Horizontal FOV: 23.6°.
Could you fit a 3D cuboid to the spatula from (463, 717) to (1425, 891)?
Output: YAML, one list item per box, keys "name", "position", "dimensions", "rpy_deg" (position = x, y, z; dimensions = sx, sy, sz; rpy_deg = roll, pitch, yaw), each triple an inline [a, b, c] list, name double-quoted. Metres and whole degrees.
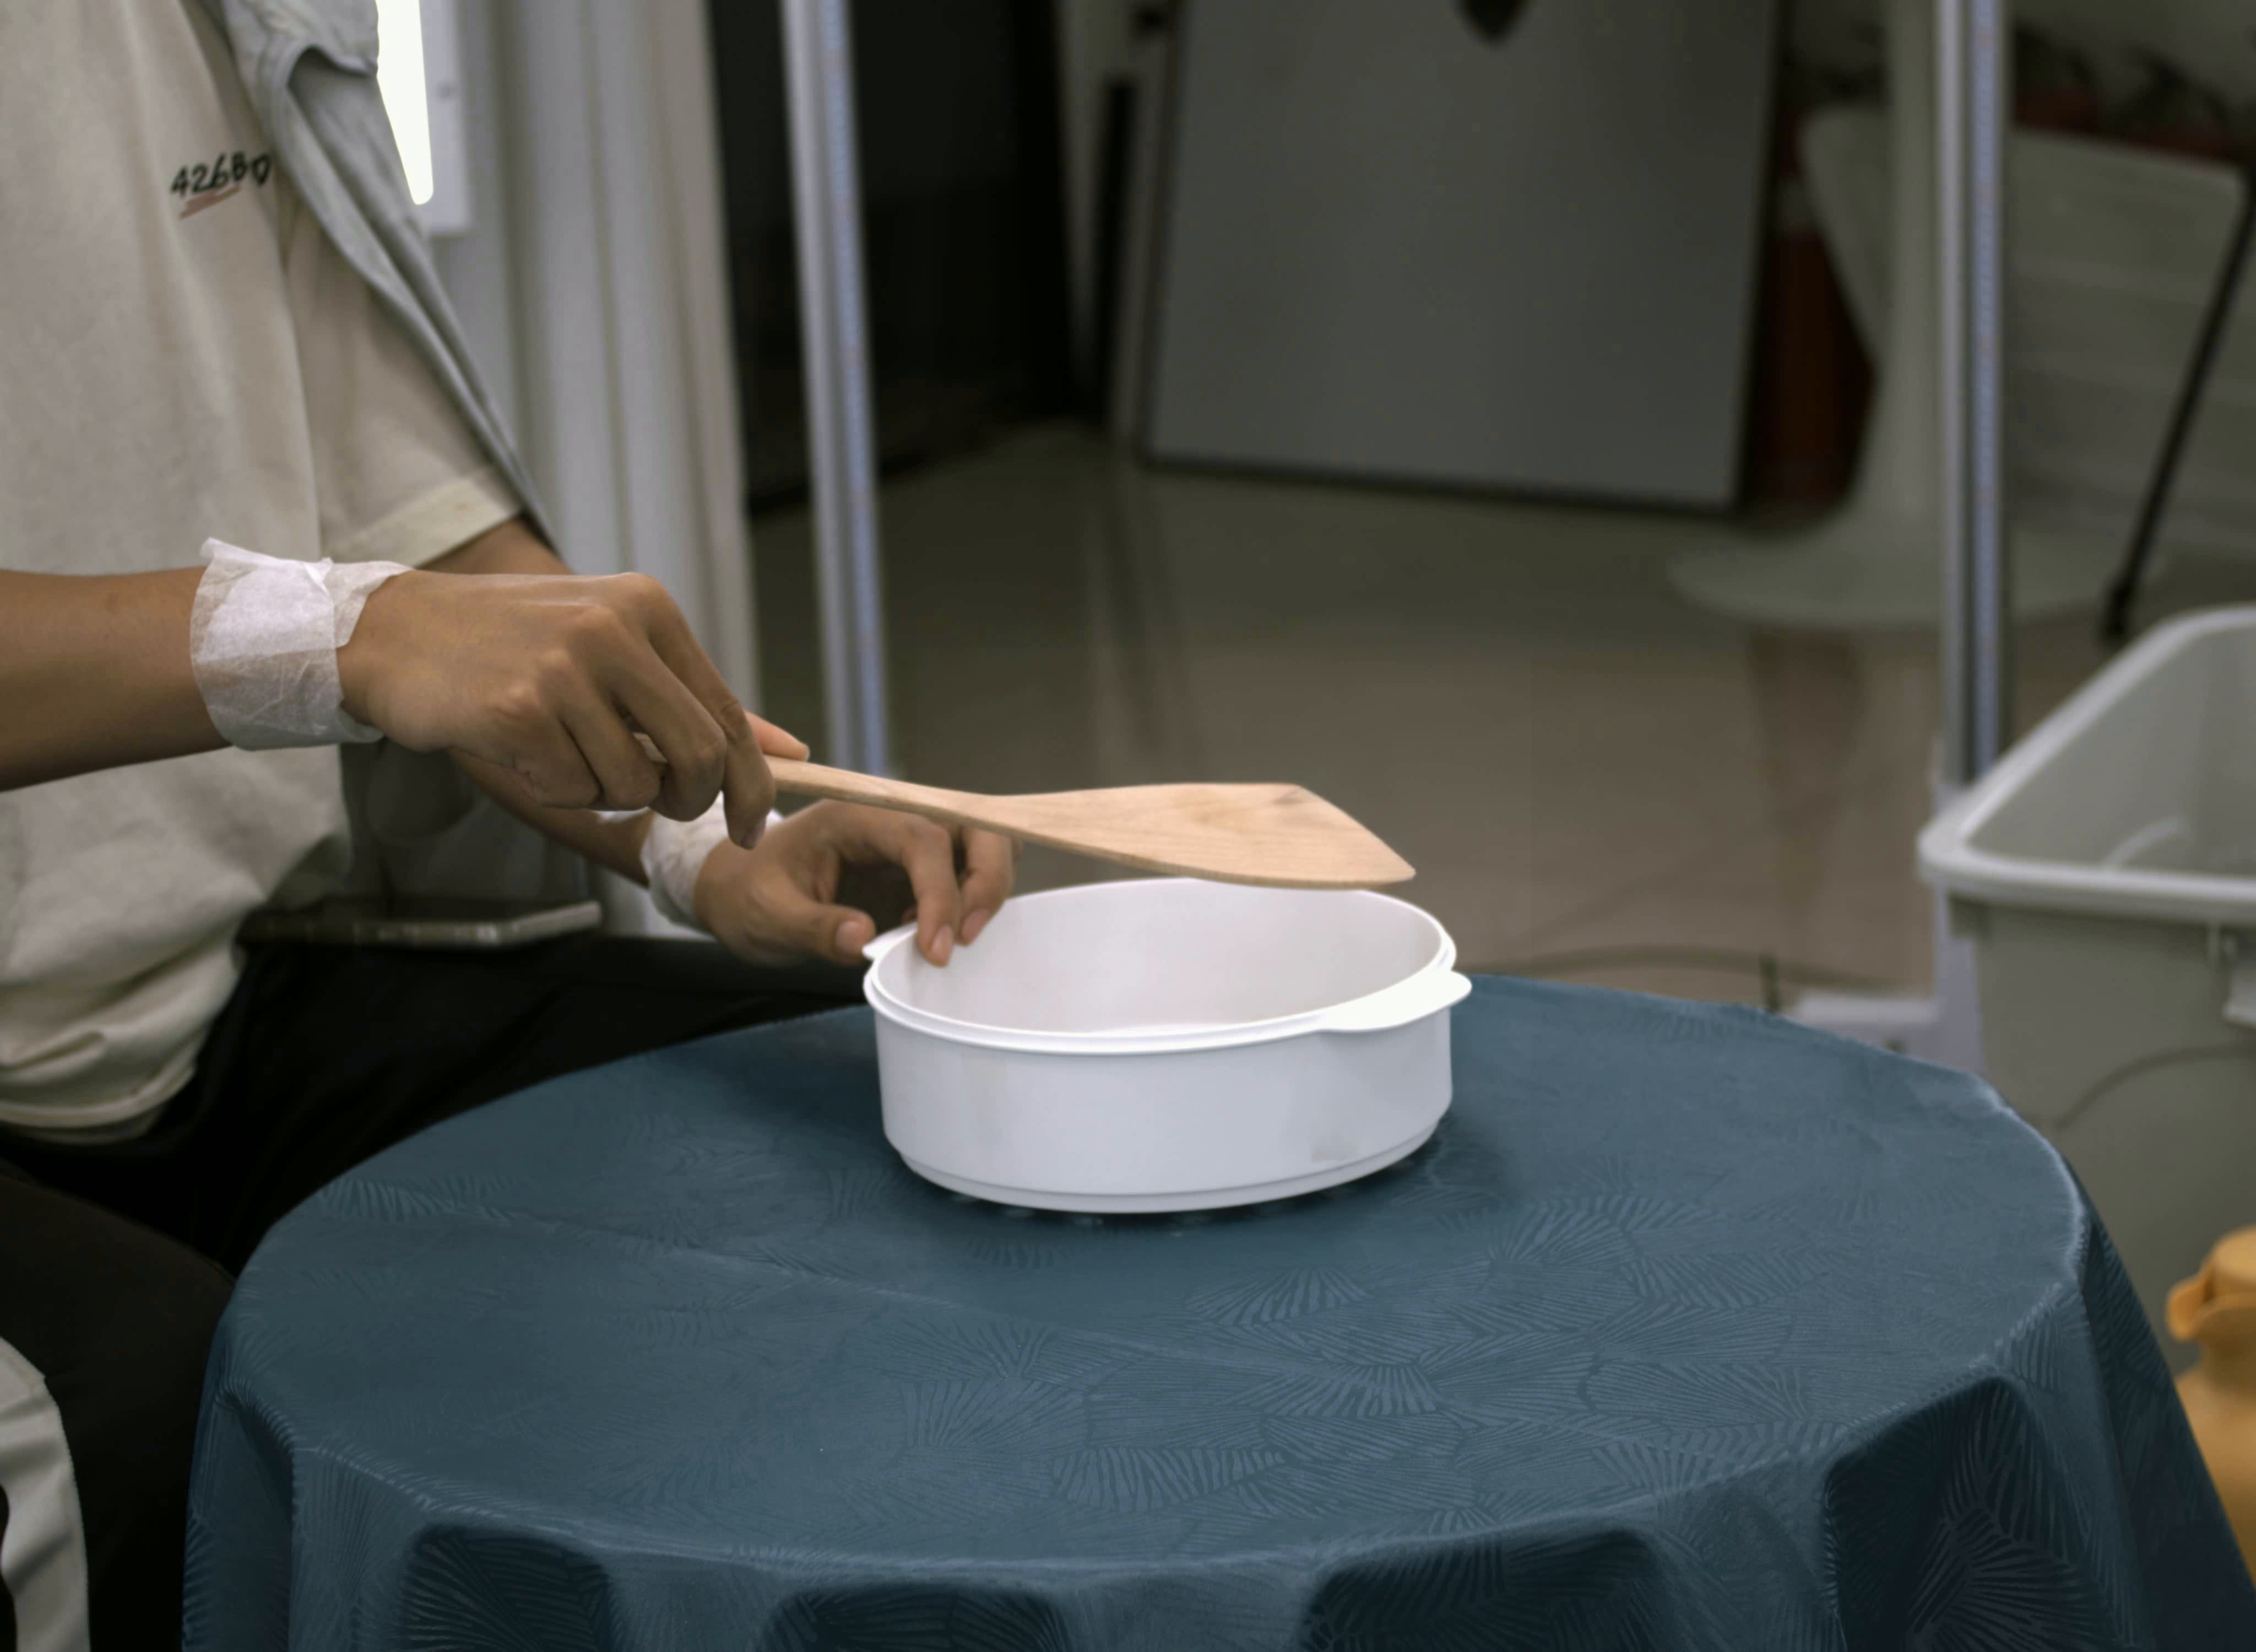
- name: "spatula"
  position: [-0.060, -0.012, 1.746]
  dimensions: [0.320, 0.017, 0.081]
  rpy_deg: [8, 20, -24]

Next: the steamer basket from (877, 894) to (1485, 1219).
- name: "steamer basket"
  position: [0.017, 0.077, 1.812]
  dimensions: [0.232, 0.070, 0.198]
  rpy_deg: [6, 16, 39]
